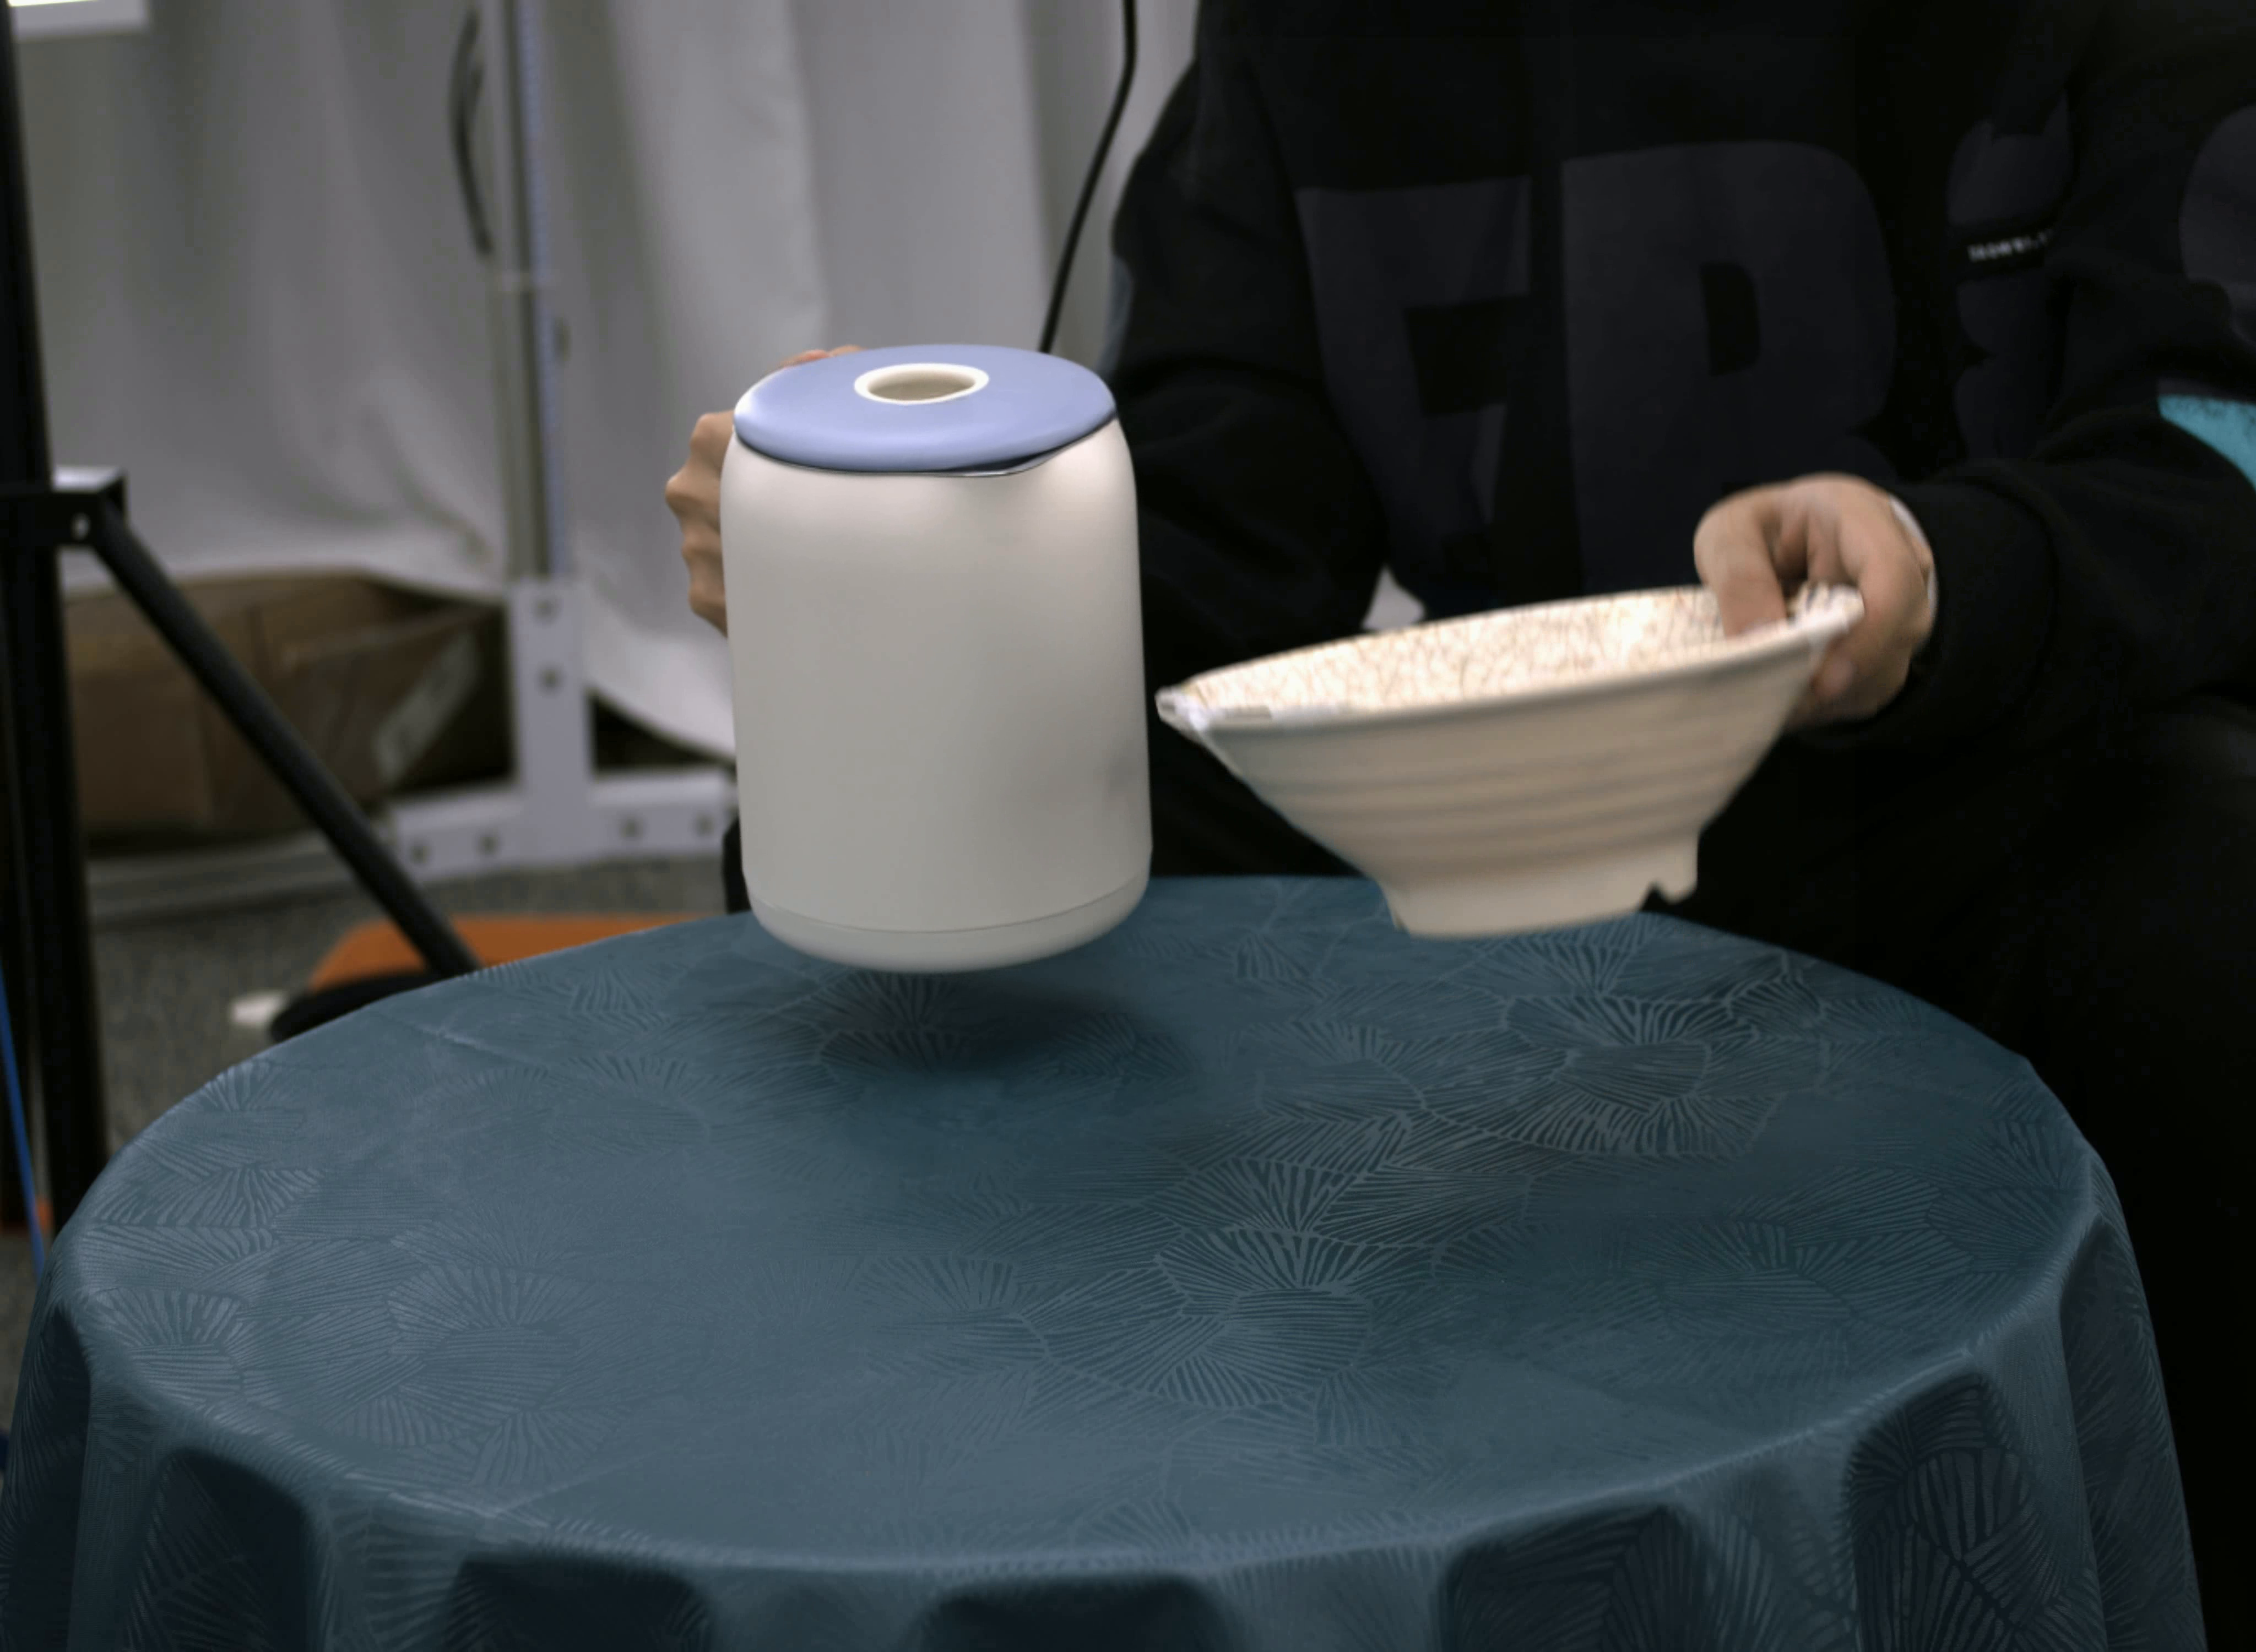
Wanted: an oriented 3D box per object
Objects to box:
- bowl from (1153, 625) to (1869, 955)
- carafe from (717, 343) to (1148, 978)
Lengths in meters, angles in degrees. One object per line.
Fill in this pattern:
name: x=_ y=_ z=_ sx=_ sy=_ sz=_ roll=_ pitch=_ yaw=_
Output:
bowl: x=0.112 y=-0.008 z=1.510 sx=0.203 sy=0.078 sz=0.204 roll=-6 pitch=5 yaw=-1
carafe: x=-0.072 y=-0.060 z=1.706 sx=0.129 sy=0.182 sz=0.195 roll=-11 pitch=19 yaw=-24
